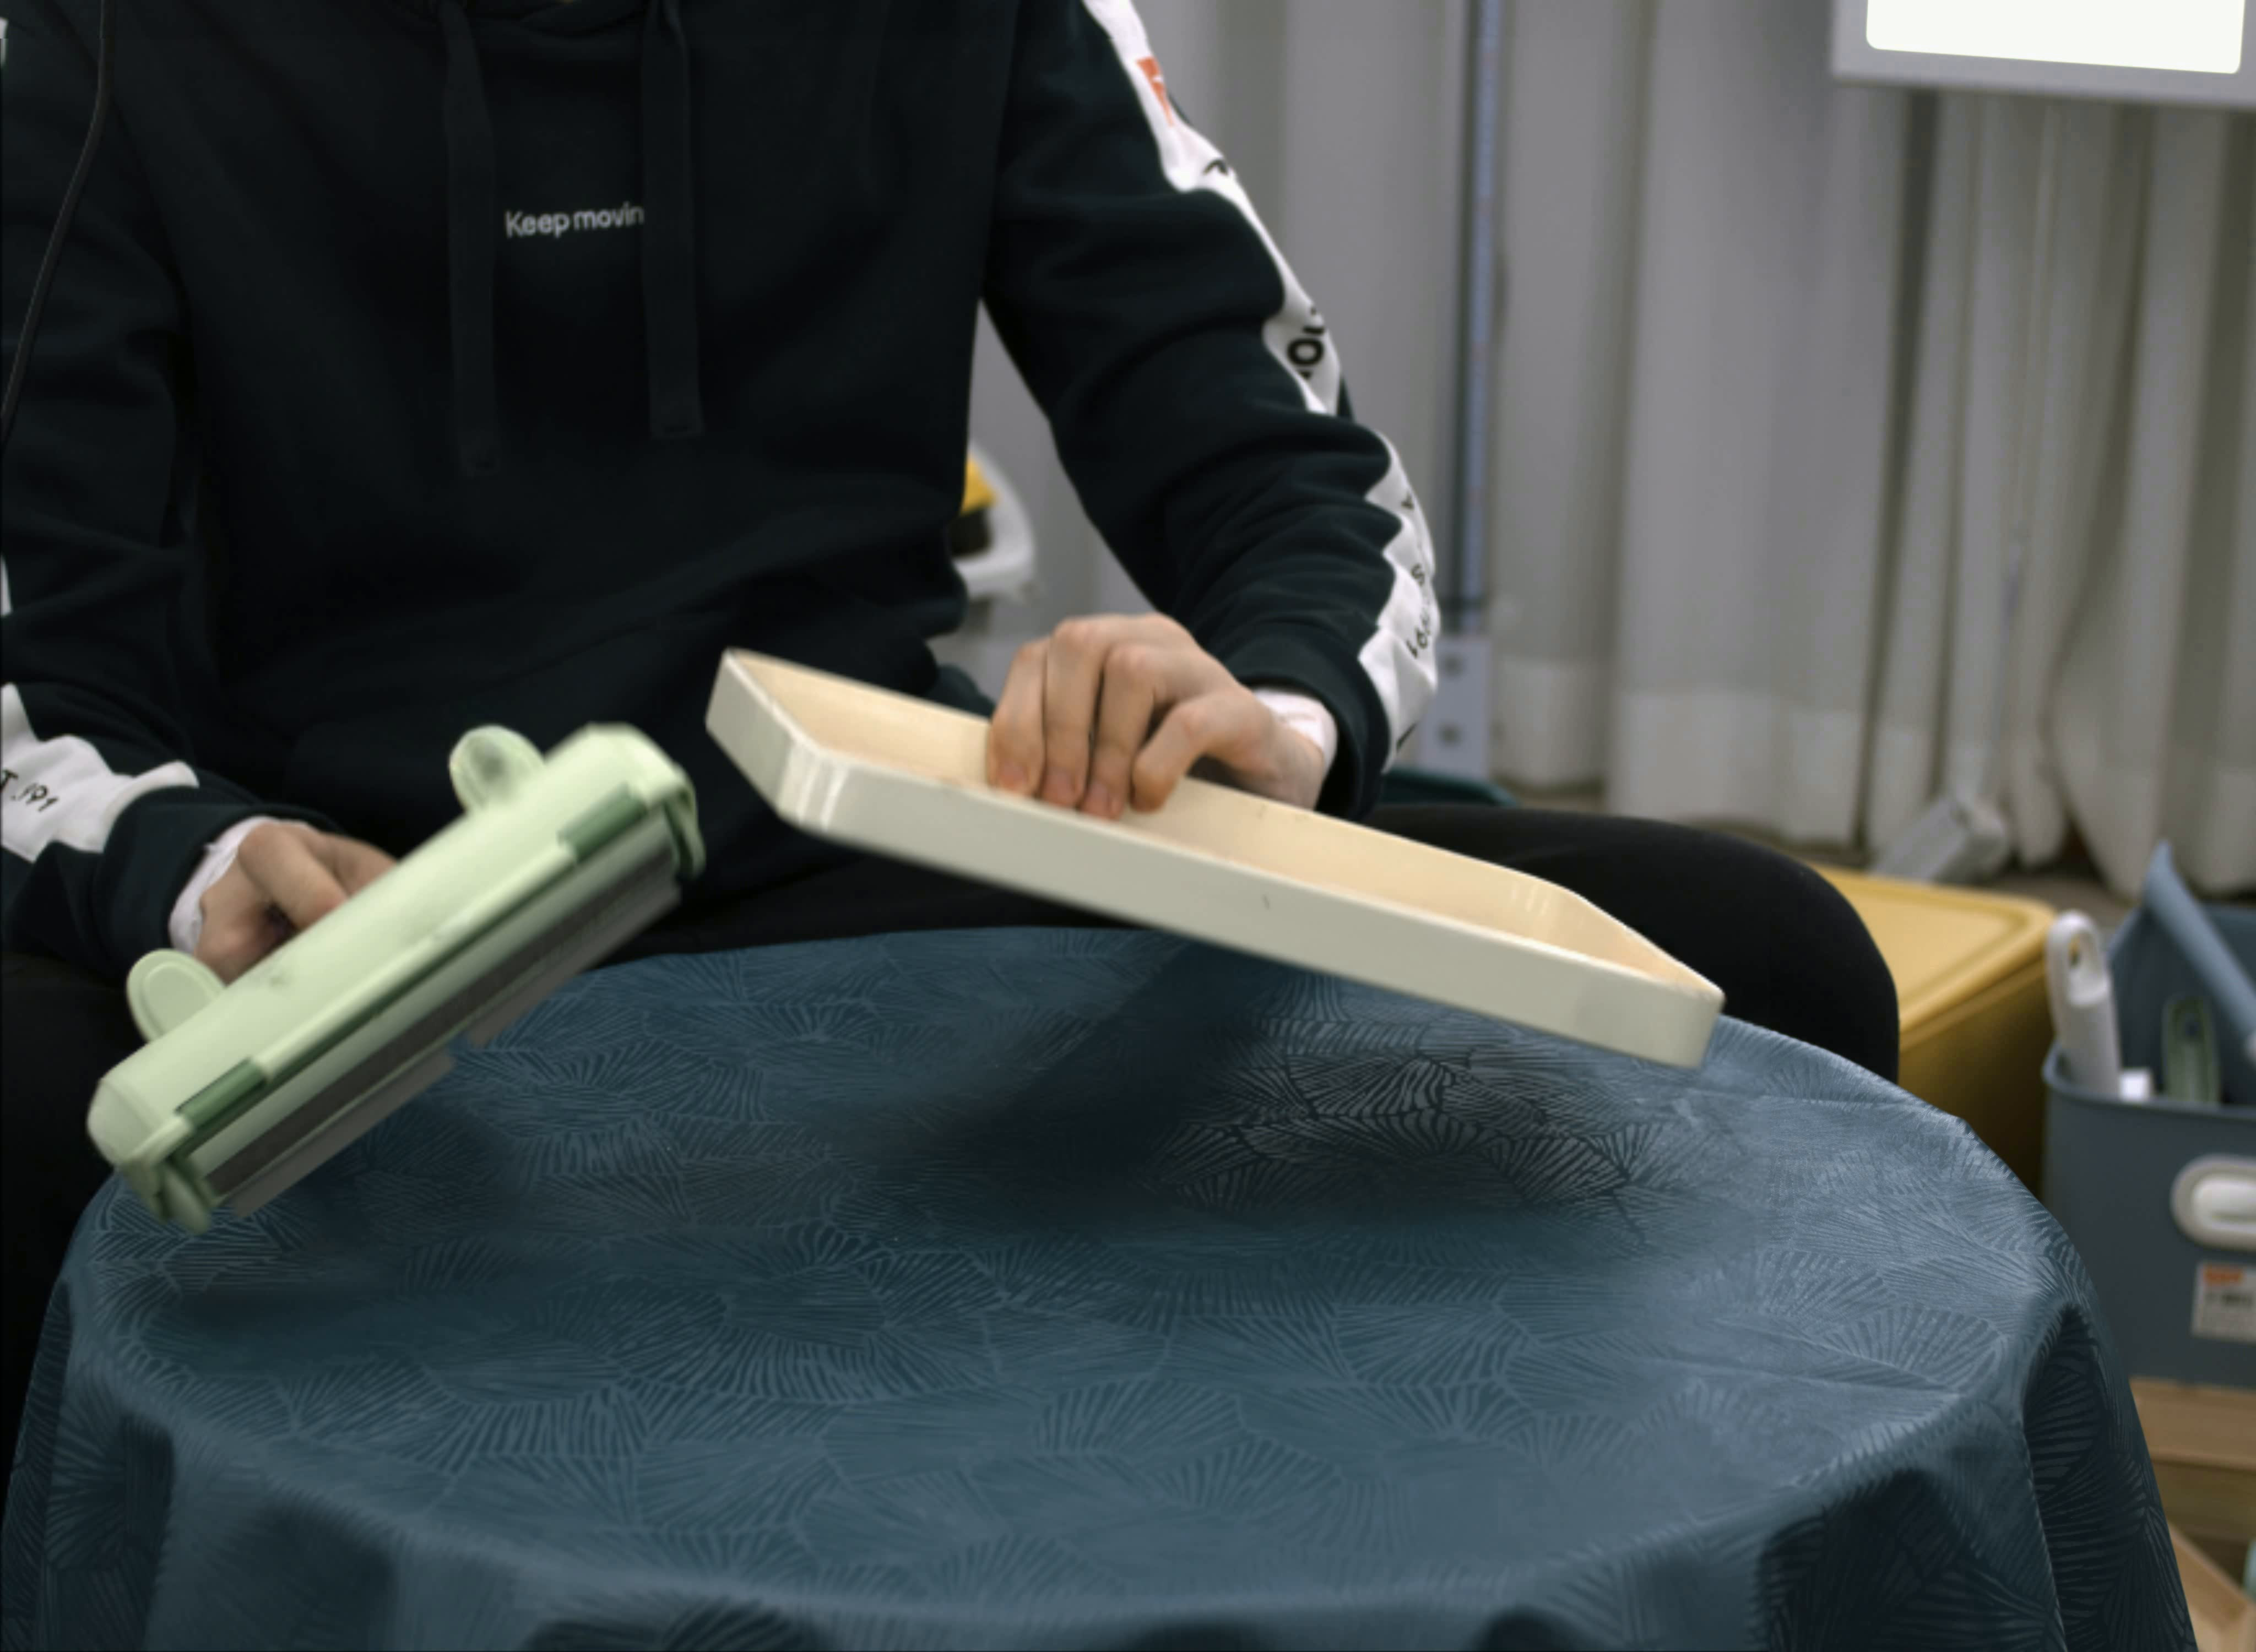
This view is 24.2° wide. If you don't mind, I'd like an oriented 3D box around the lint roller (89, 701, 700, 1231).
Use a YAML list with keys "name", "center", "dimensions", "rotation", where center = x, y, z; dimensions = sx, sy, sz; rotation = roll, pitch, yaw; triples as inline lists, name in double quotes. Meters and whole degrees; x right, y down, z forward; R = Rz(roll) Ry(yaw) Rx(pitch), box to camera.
- name: "lint roller"
  center: [-0.237, 0.029, 1.573]
  dimensions: [0.198, 0.083, 0.181]
  rotation: [-39, 19, -17]

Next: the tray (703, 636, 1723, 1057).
- name: "tray"
  center: [0.022, 0.006, 1.636]
  dimensions: [0.301, 0.027, 0.190]
  rotation: [17, 5, -15]
